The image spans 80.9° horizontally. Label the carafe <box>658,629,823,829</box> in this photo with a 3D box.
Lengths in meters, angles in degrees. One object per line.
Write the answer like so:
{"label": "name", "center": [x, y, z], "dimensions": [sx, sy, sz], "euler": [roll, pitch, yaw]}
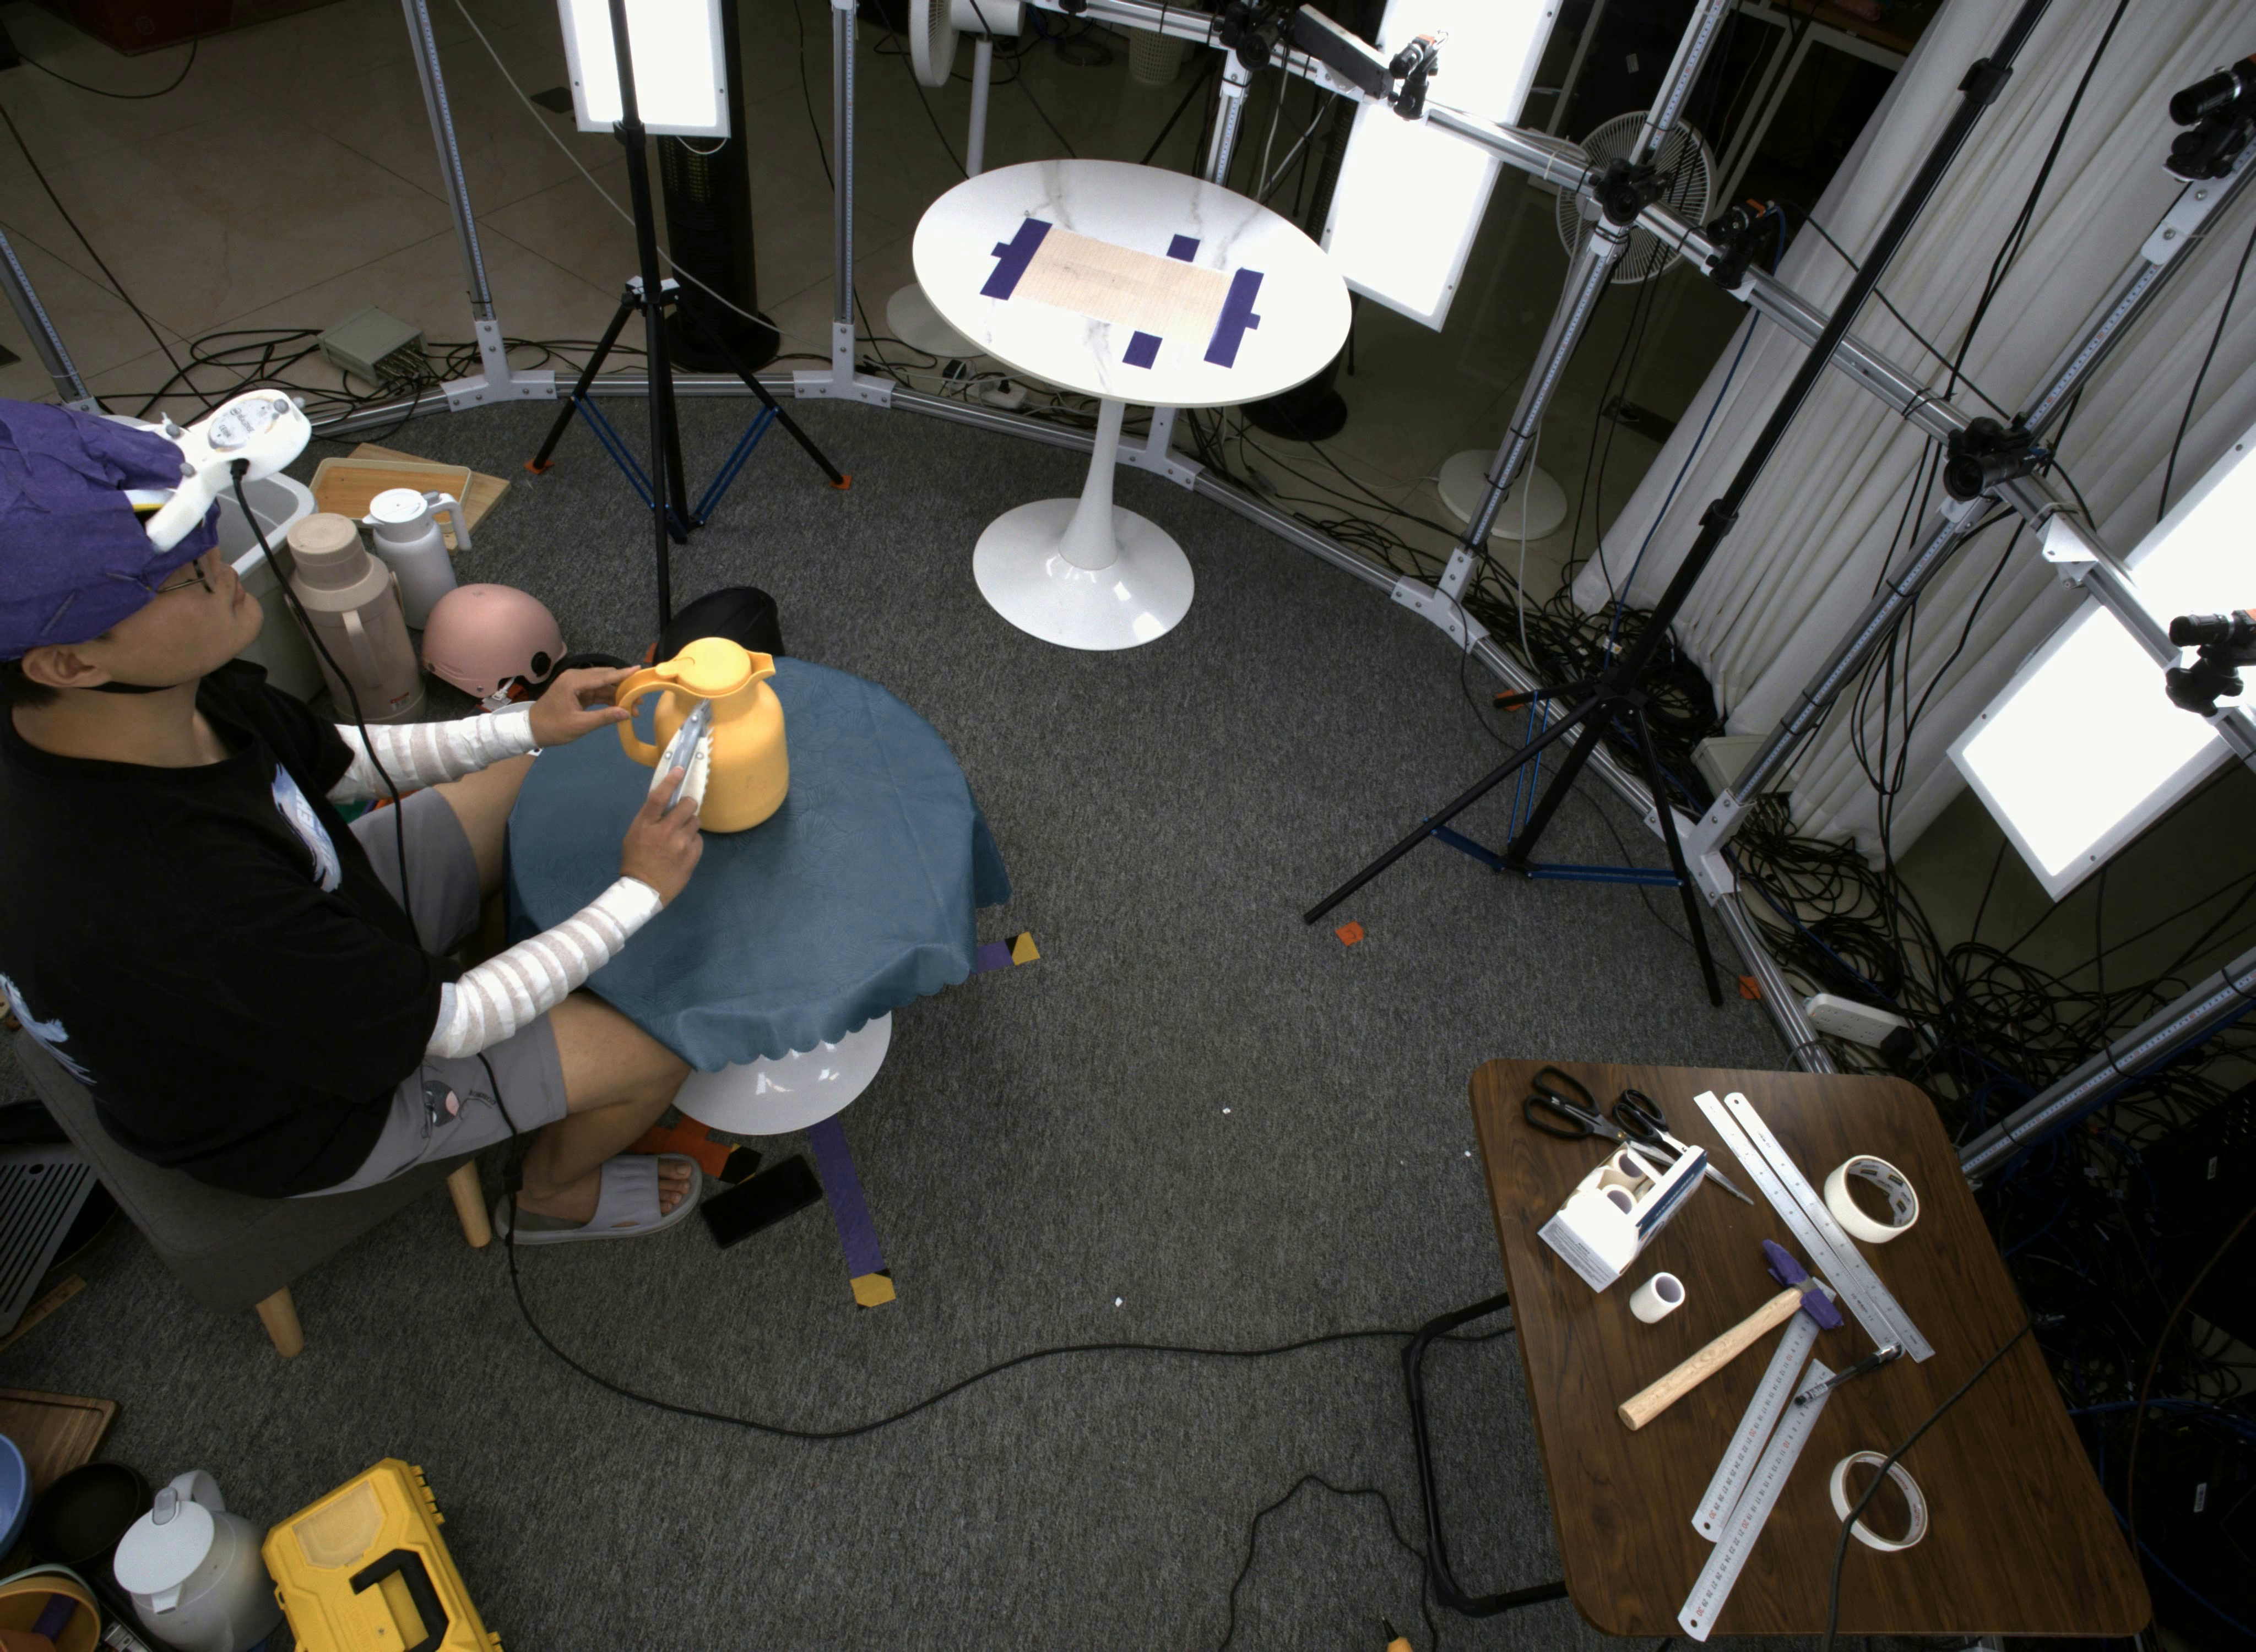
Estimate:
{"label": "carafe", "center": [-0.492, -0.128, 1.645], "dimensions": [0.203, 0.266, 0.159], "euler": [-5, 52, -17]}

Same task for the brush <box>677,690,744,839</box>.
{"label": "brush", "center": [-0.490, -0.069, 1.529], "dimensions": [0.062, 0.178, 0.092], "euler": [17, 18, -15]}
